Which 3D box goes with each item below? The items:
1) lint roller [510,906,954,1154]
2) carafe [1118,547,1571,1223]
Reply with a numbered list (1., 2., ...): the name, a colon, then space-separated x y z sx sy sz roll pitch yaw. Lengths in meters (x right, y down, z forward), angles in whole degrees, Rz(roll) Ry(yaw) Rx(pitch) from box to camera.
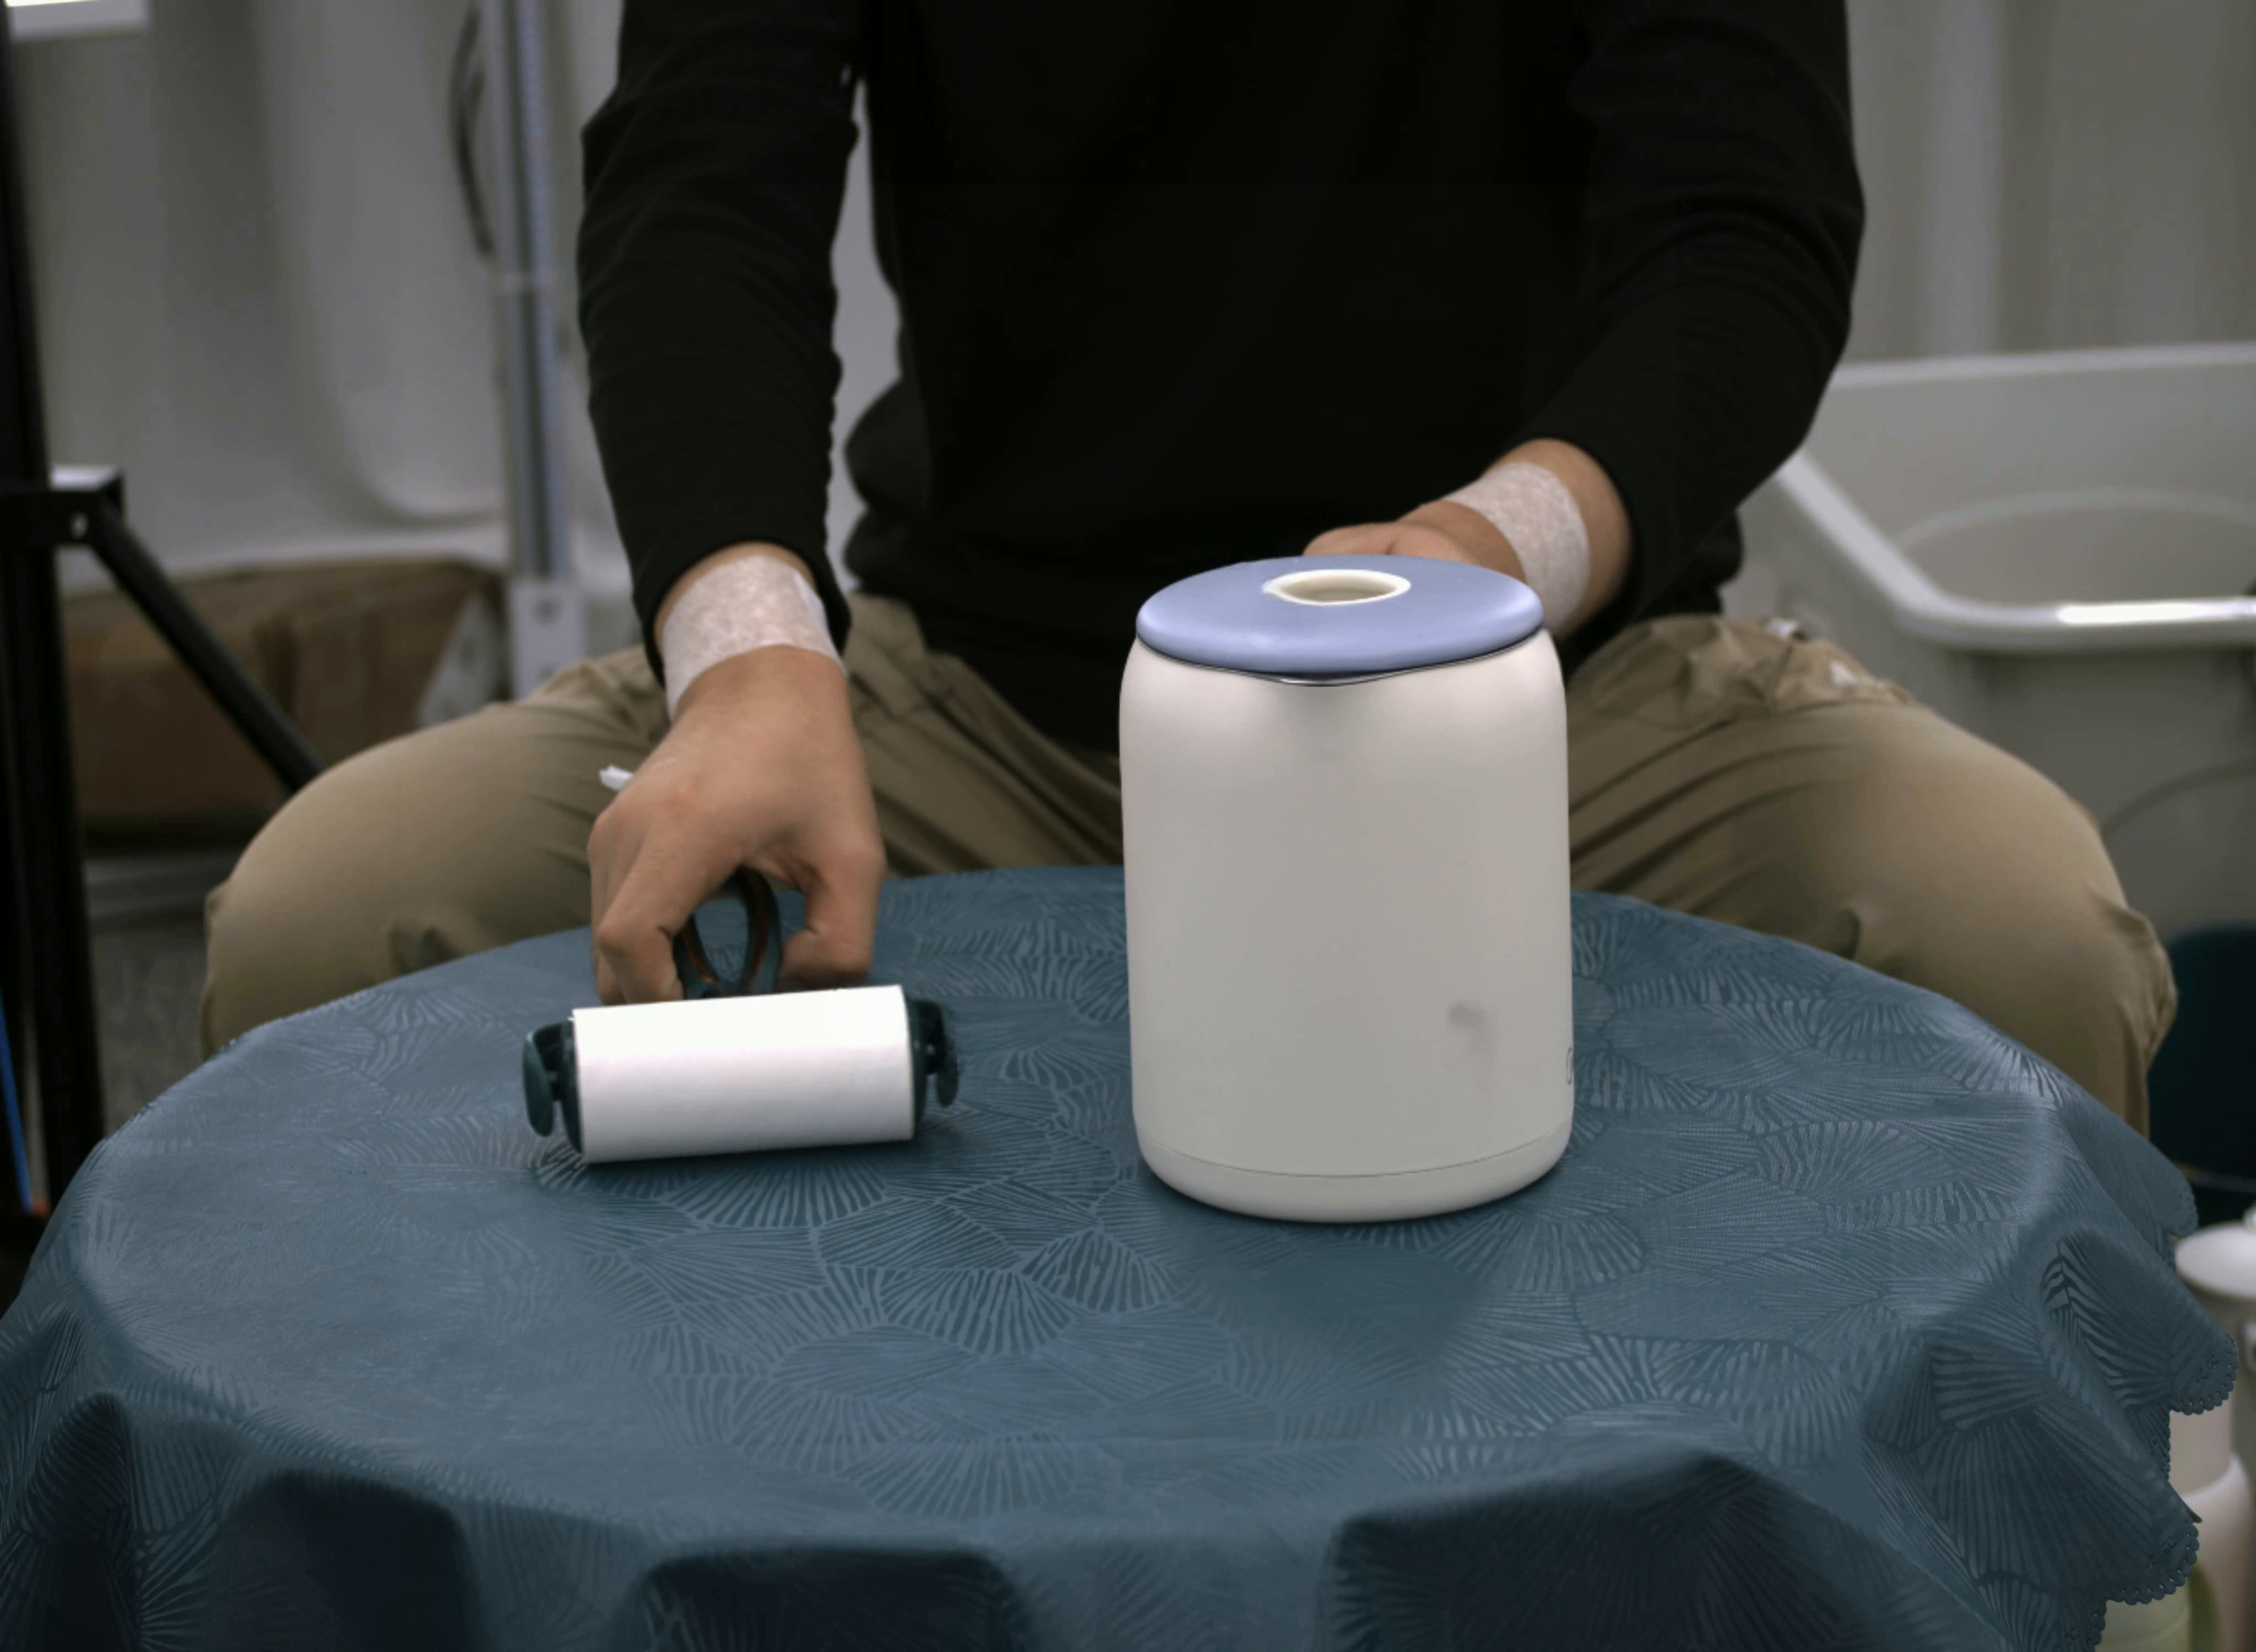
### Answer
1. lint roller: -0.125 0.046 1.668 0.133 0.048 0.182 -3 24 -3
2. carafe: 0.066 0.010 1.578 0.132 0.182 0.191 0 13 5
